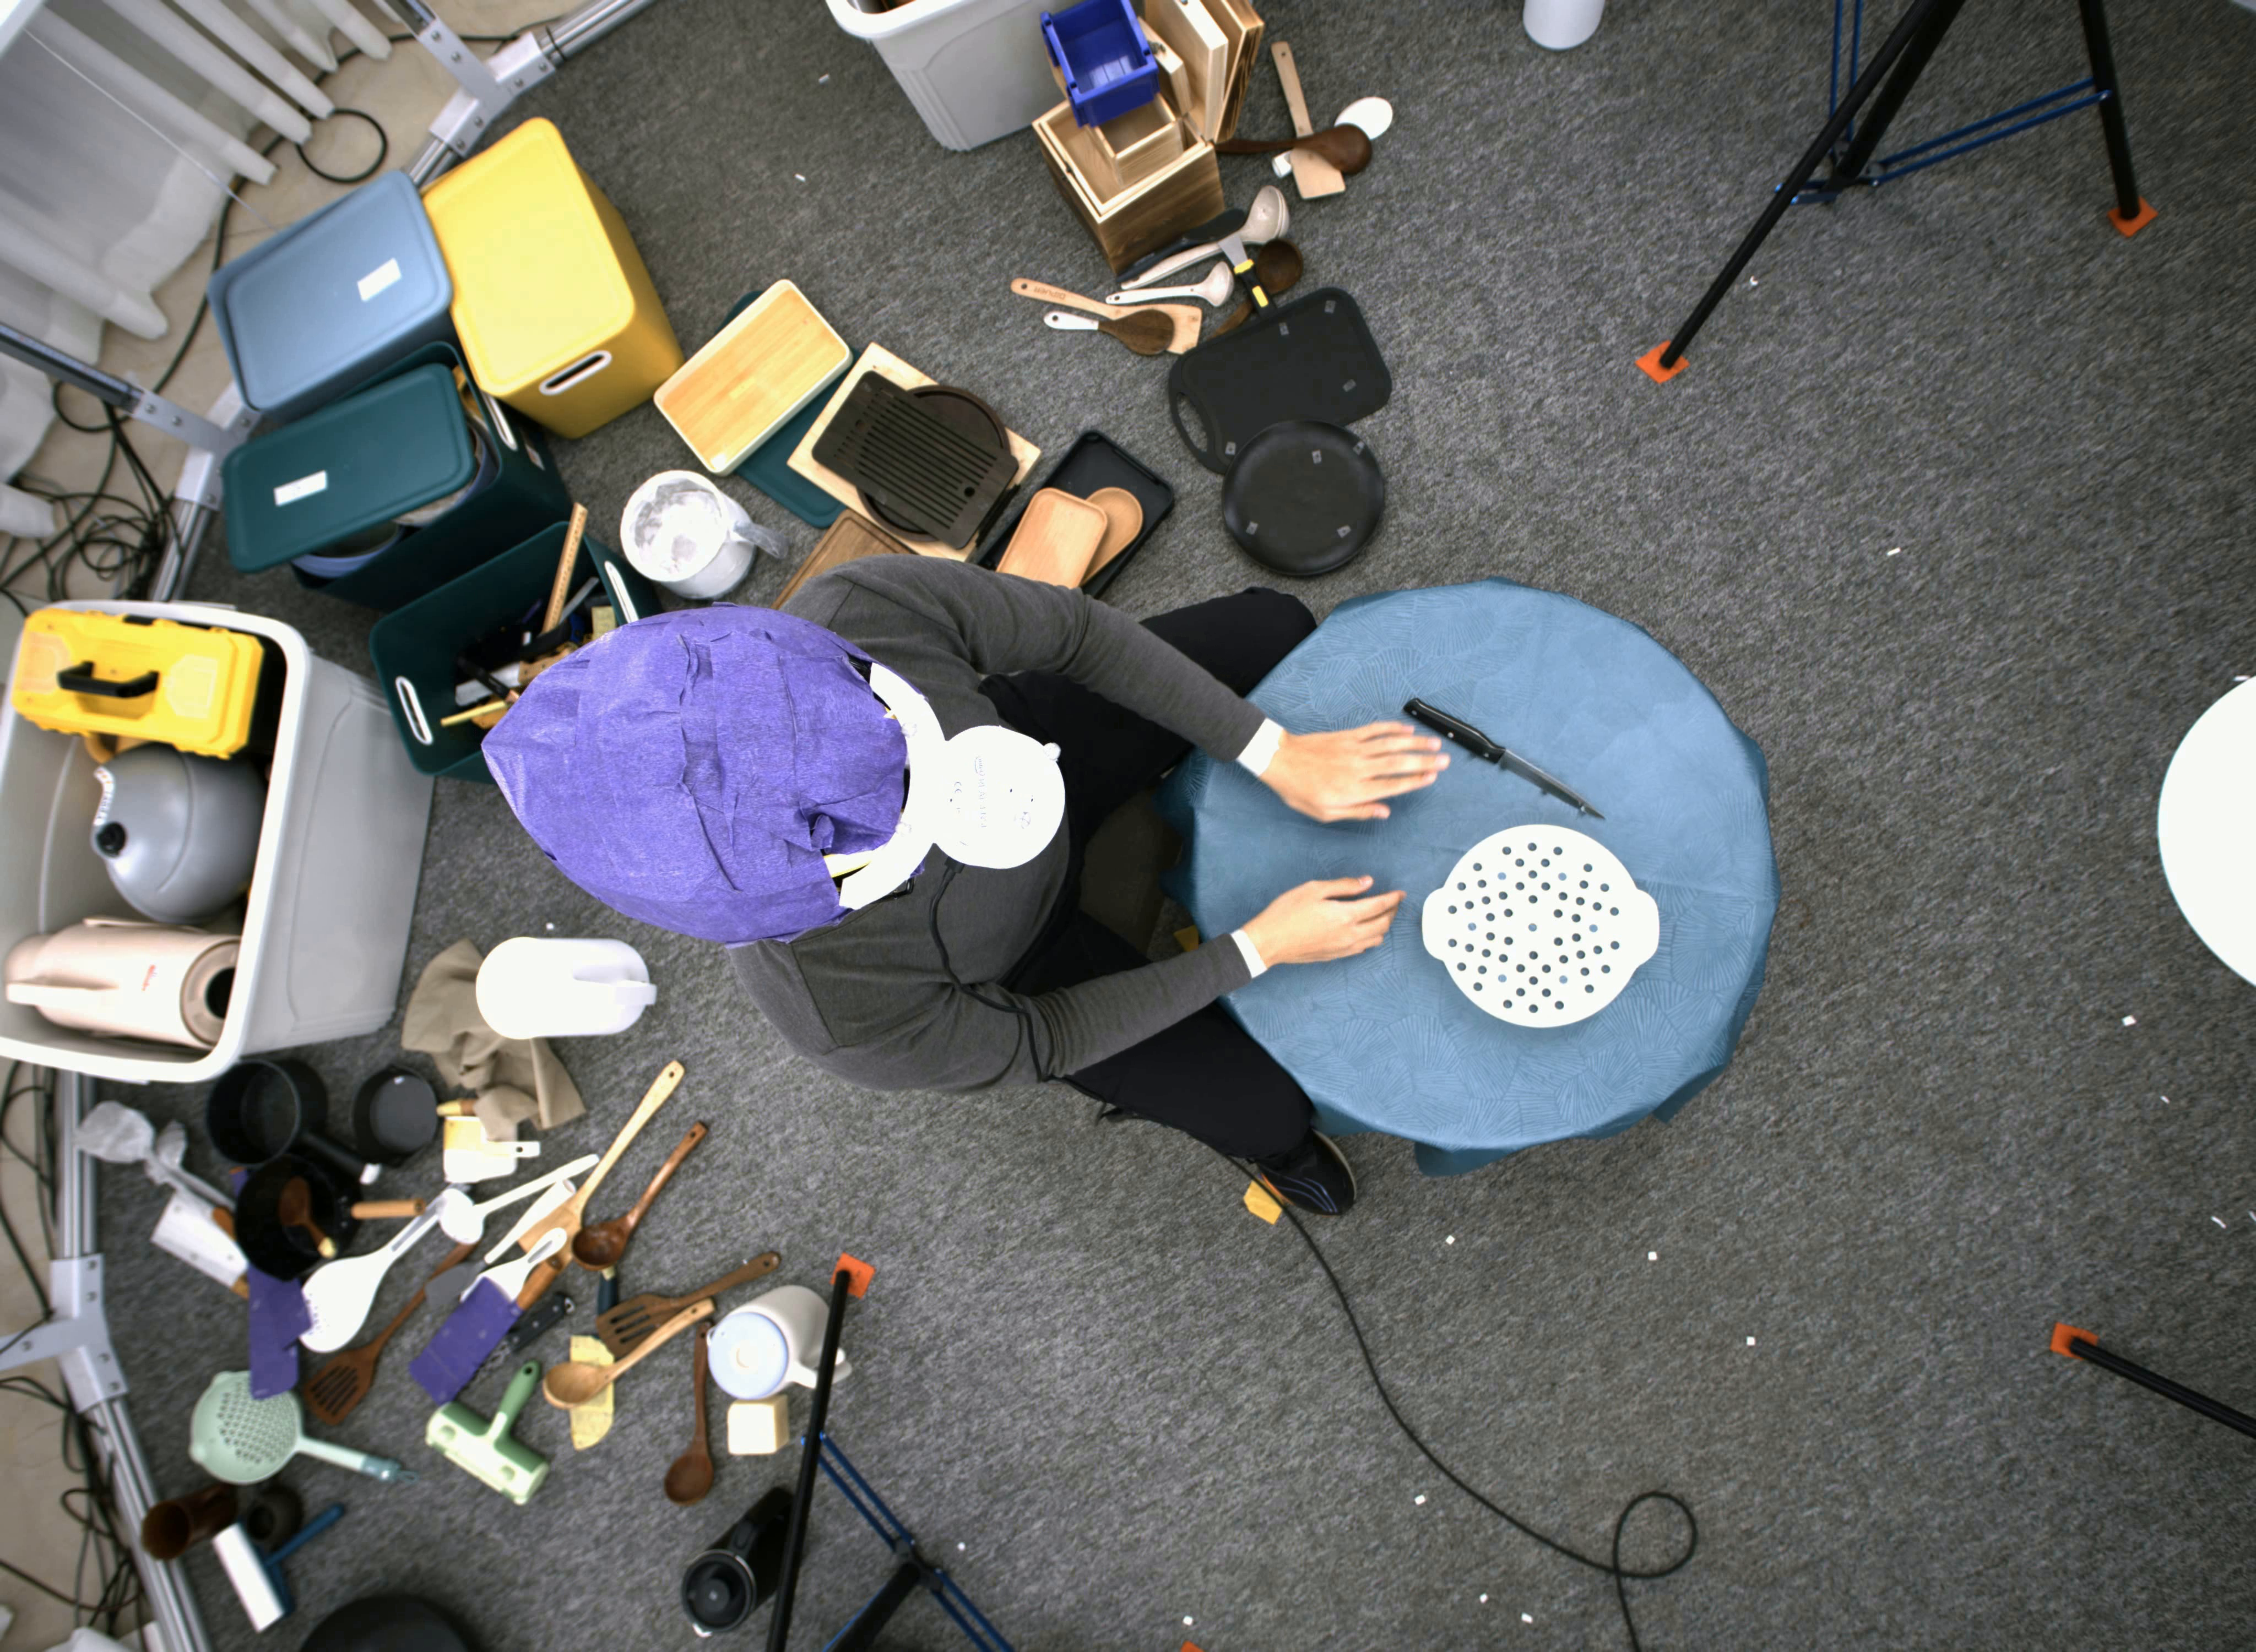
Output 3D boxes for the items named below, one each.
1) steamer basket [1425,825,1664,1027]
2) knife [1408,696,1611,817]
[{"bbox_3d":[0.419,0.100,1.397,0.231,0.069,0.201,0,86,12],"label":"steamer basket"},{"bbox_3d":[0.397,-0.072,1.435,0.237,0.025,0.016,31,60,11],"label":"knife"}]
